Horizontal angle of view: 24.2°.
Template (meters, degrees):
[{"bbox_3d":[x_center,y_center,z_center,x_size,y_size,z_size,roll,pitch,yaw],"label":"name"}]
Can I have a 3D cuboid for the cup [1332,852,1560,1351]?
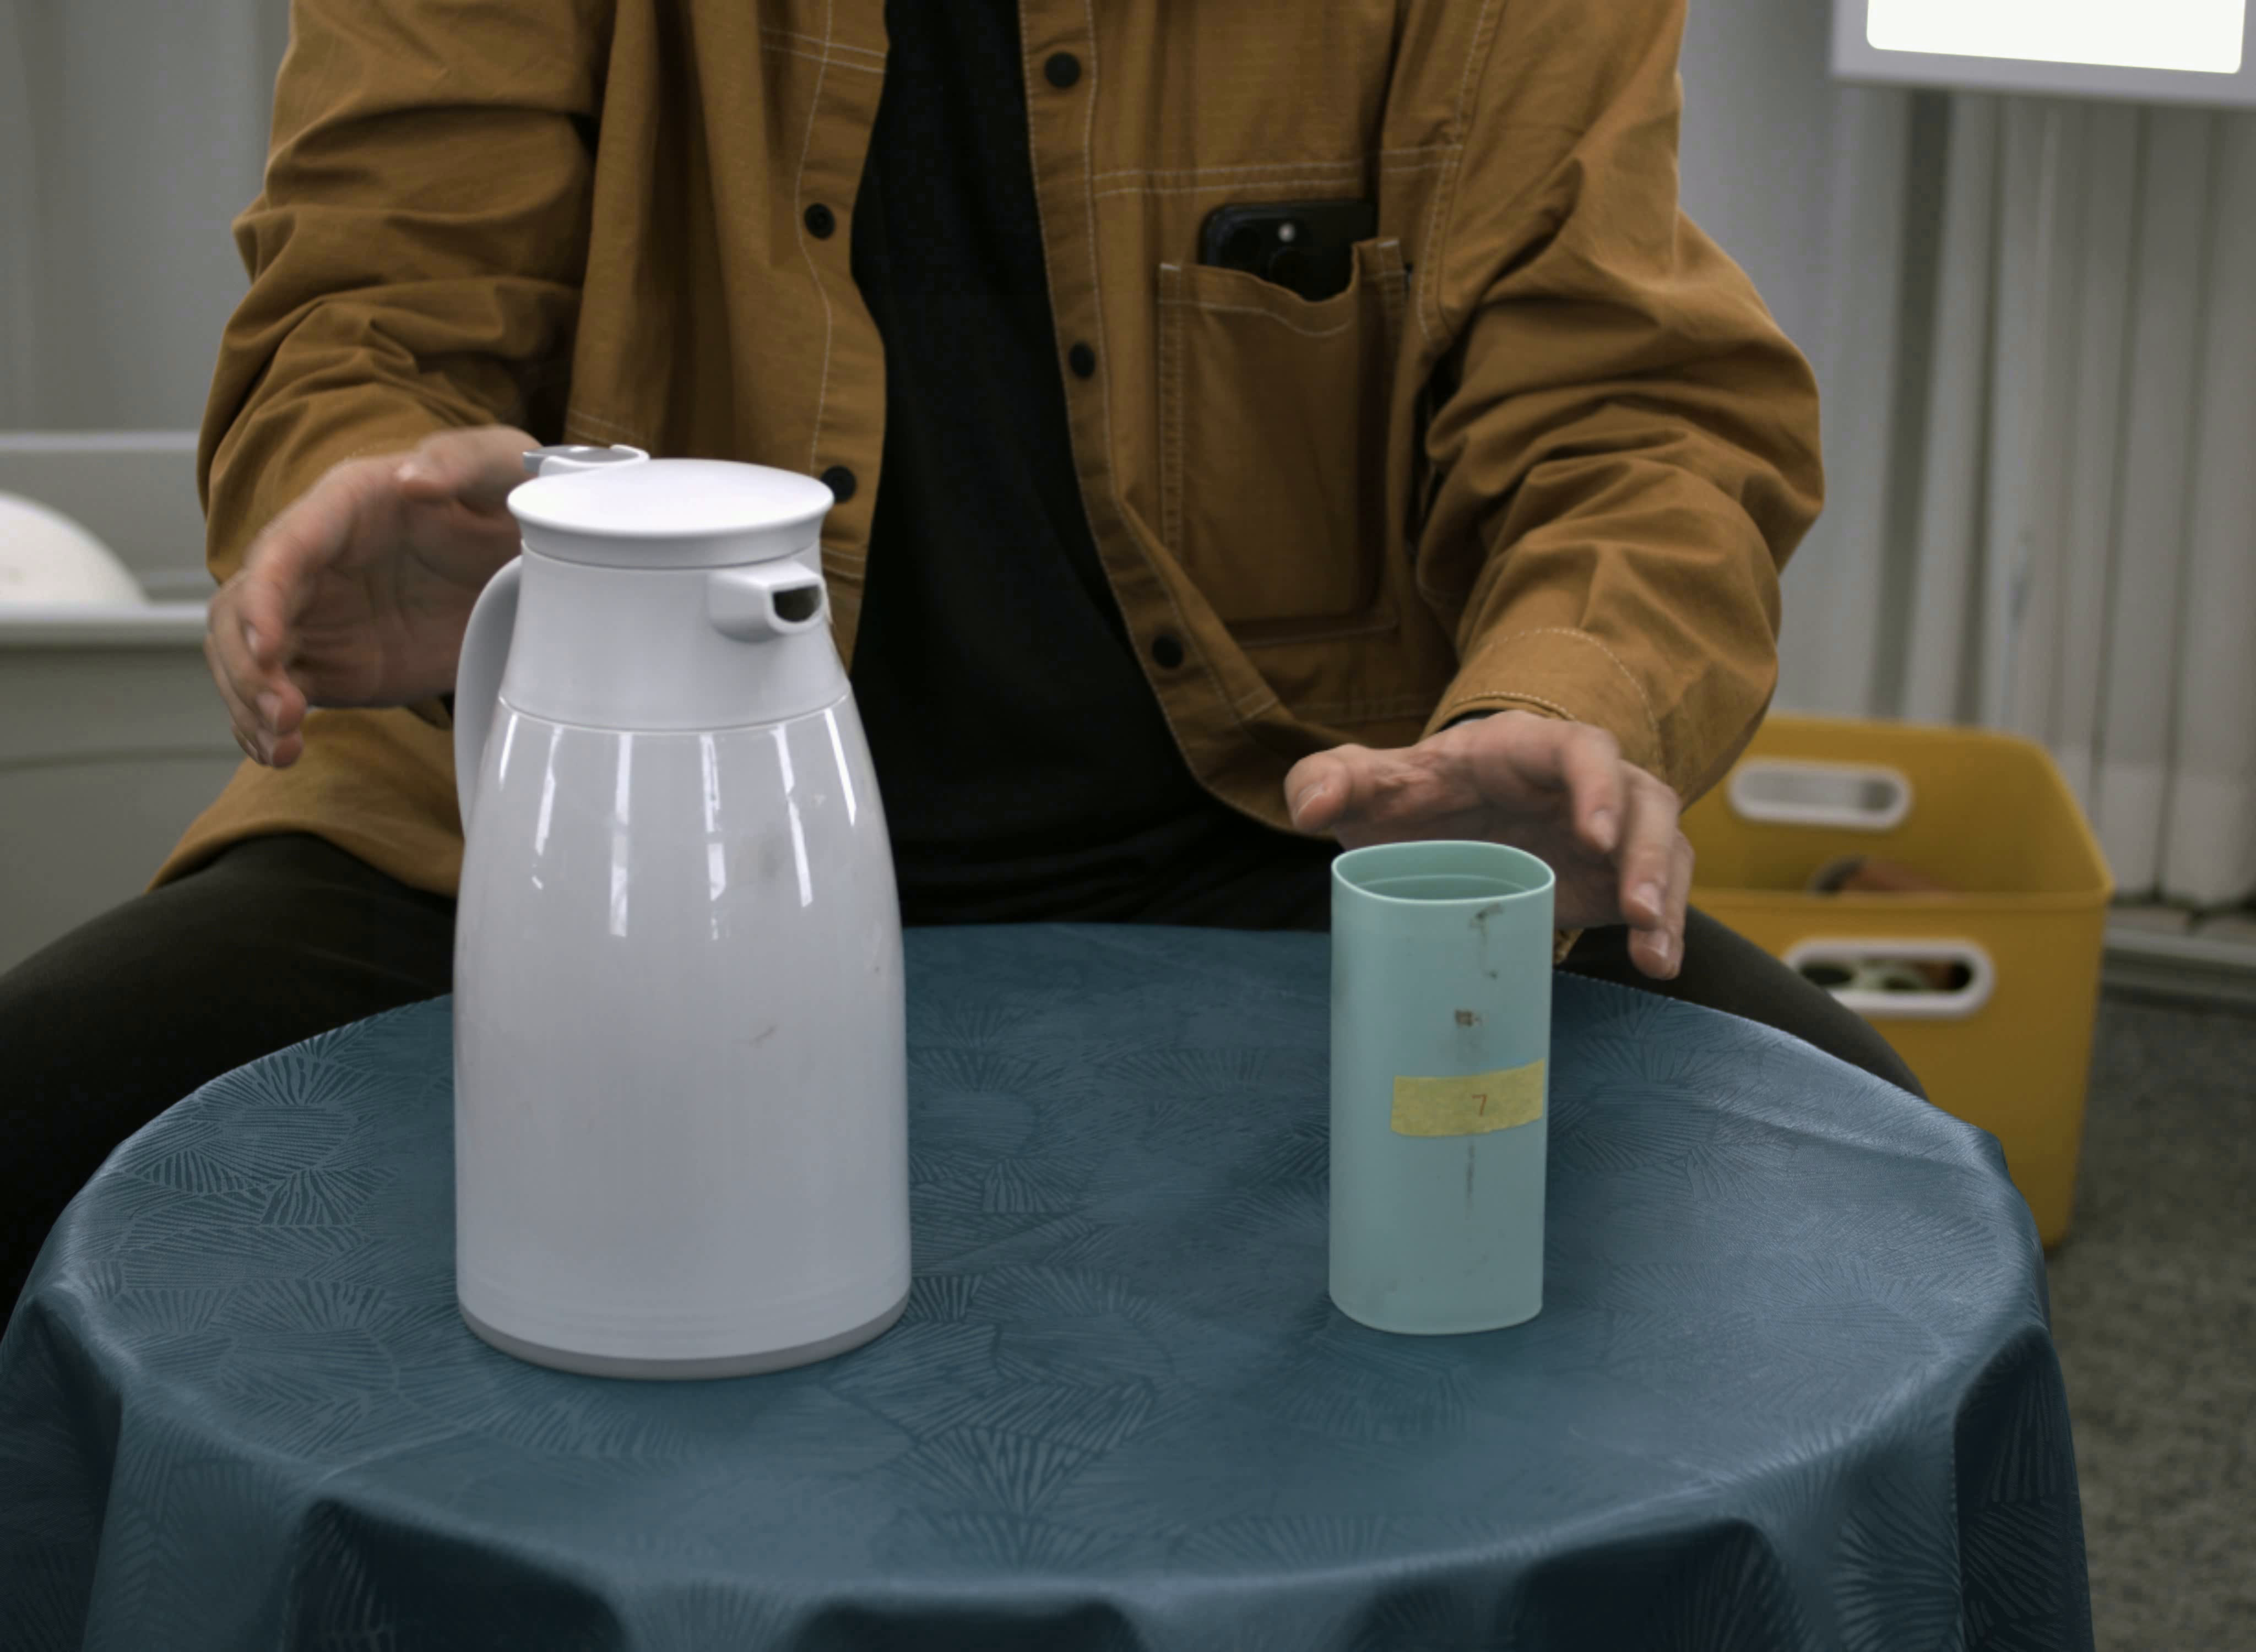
[{"bbox_3d":[0.090,0.078,1.517,0.066,0.133,0.066,1,16,0],"label":"cup"}]

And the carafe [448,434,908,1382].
[{"bbox_3d":[-0.142,0.015,1.505,0.133,0.250,0.165,-13,20,-38],"label":"carafe"}]
